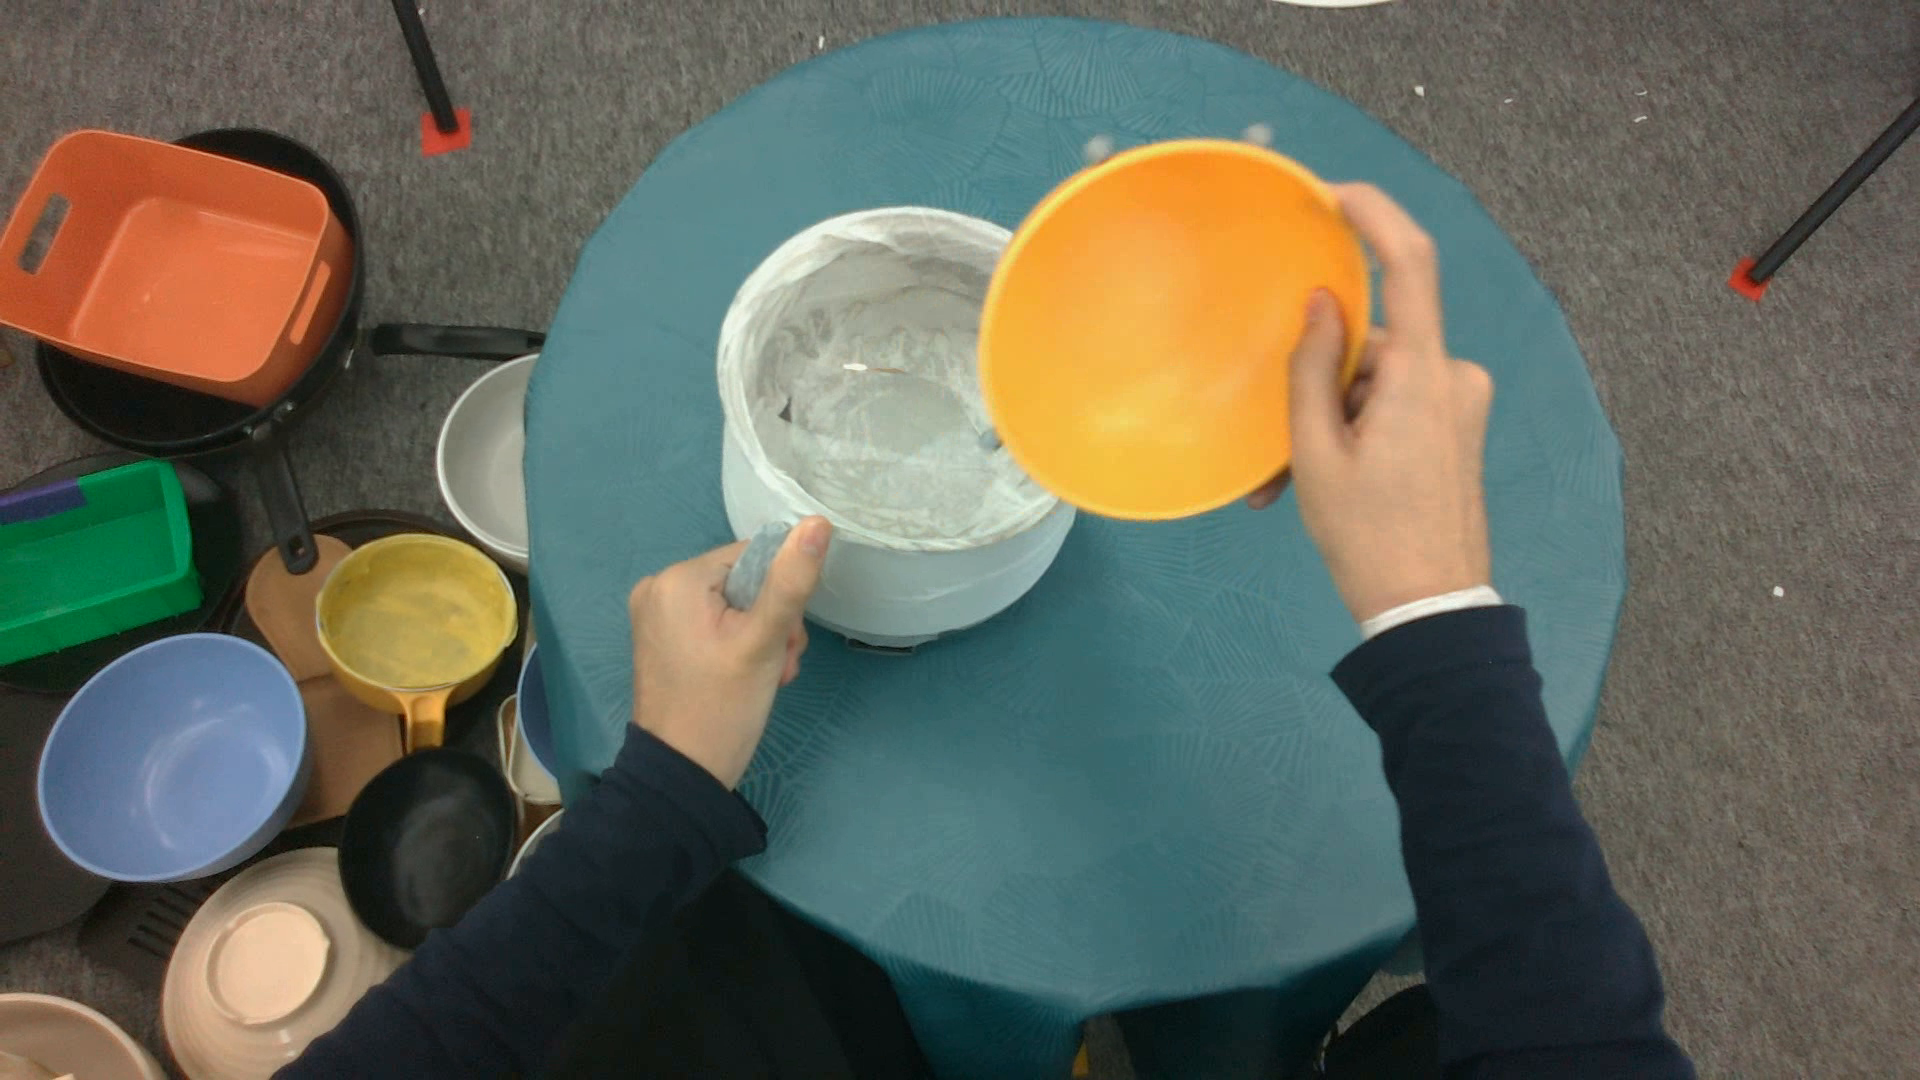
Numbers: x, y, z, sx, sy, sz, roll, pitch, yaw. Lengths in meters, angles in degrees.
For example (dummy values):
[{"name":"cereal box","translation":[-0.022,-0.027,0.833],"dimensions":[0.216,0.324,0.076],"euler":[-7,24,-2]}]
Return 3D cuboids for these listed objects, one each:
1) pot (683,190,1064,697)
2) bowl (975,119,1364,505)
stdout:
[{"name":"pot","translation":[-0.048,-0.035,0.646],"dimensions":[0.179,0.136,0.235],"euler":[31,64,9]},{"name":"bowl","translation":[0.071,-0.090,0.514],"dimensions":[0.145,0.145,0.060],"euler":[-8,29,-10]}]
